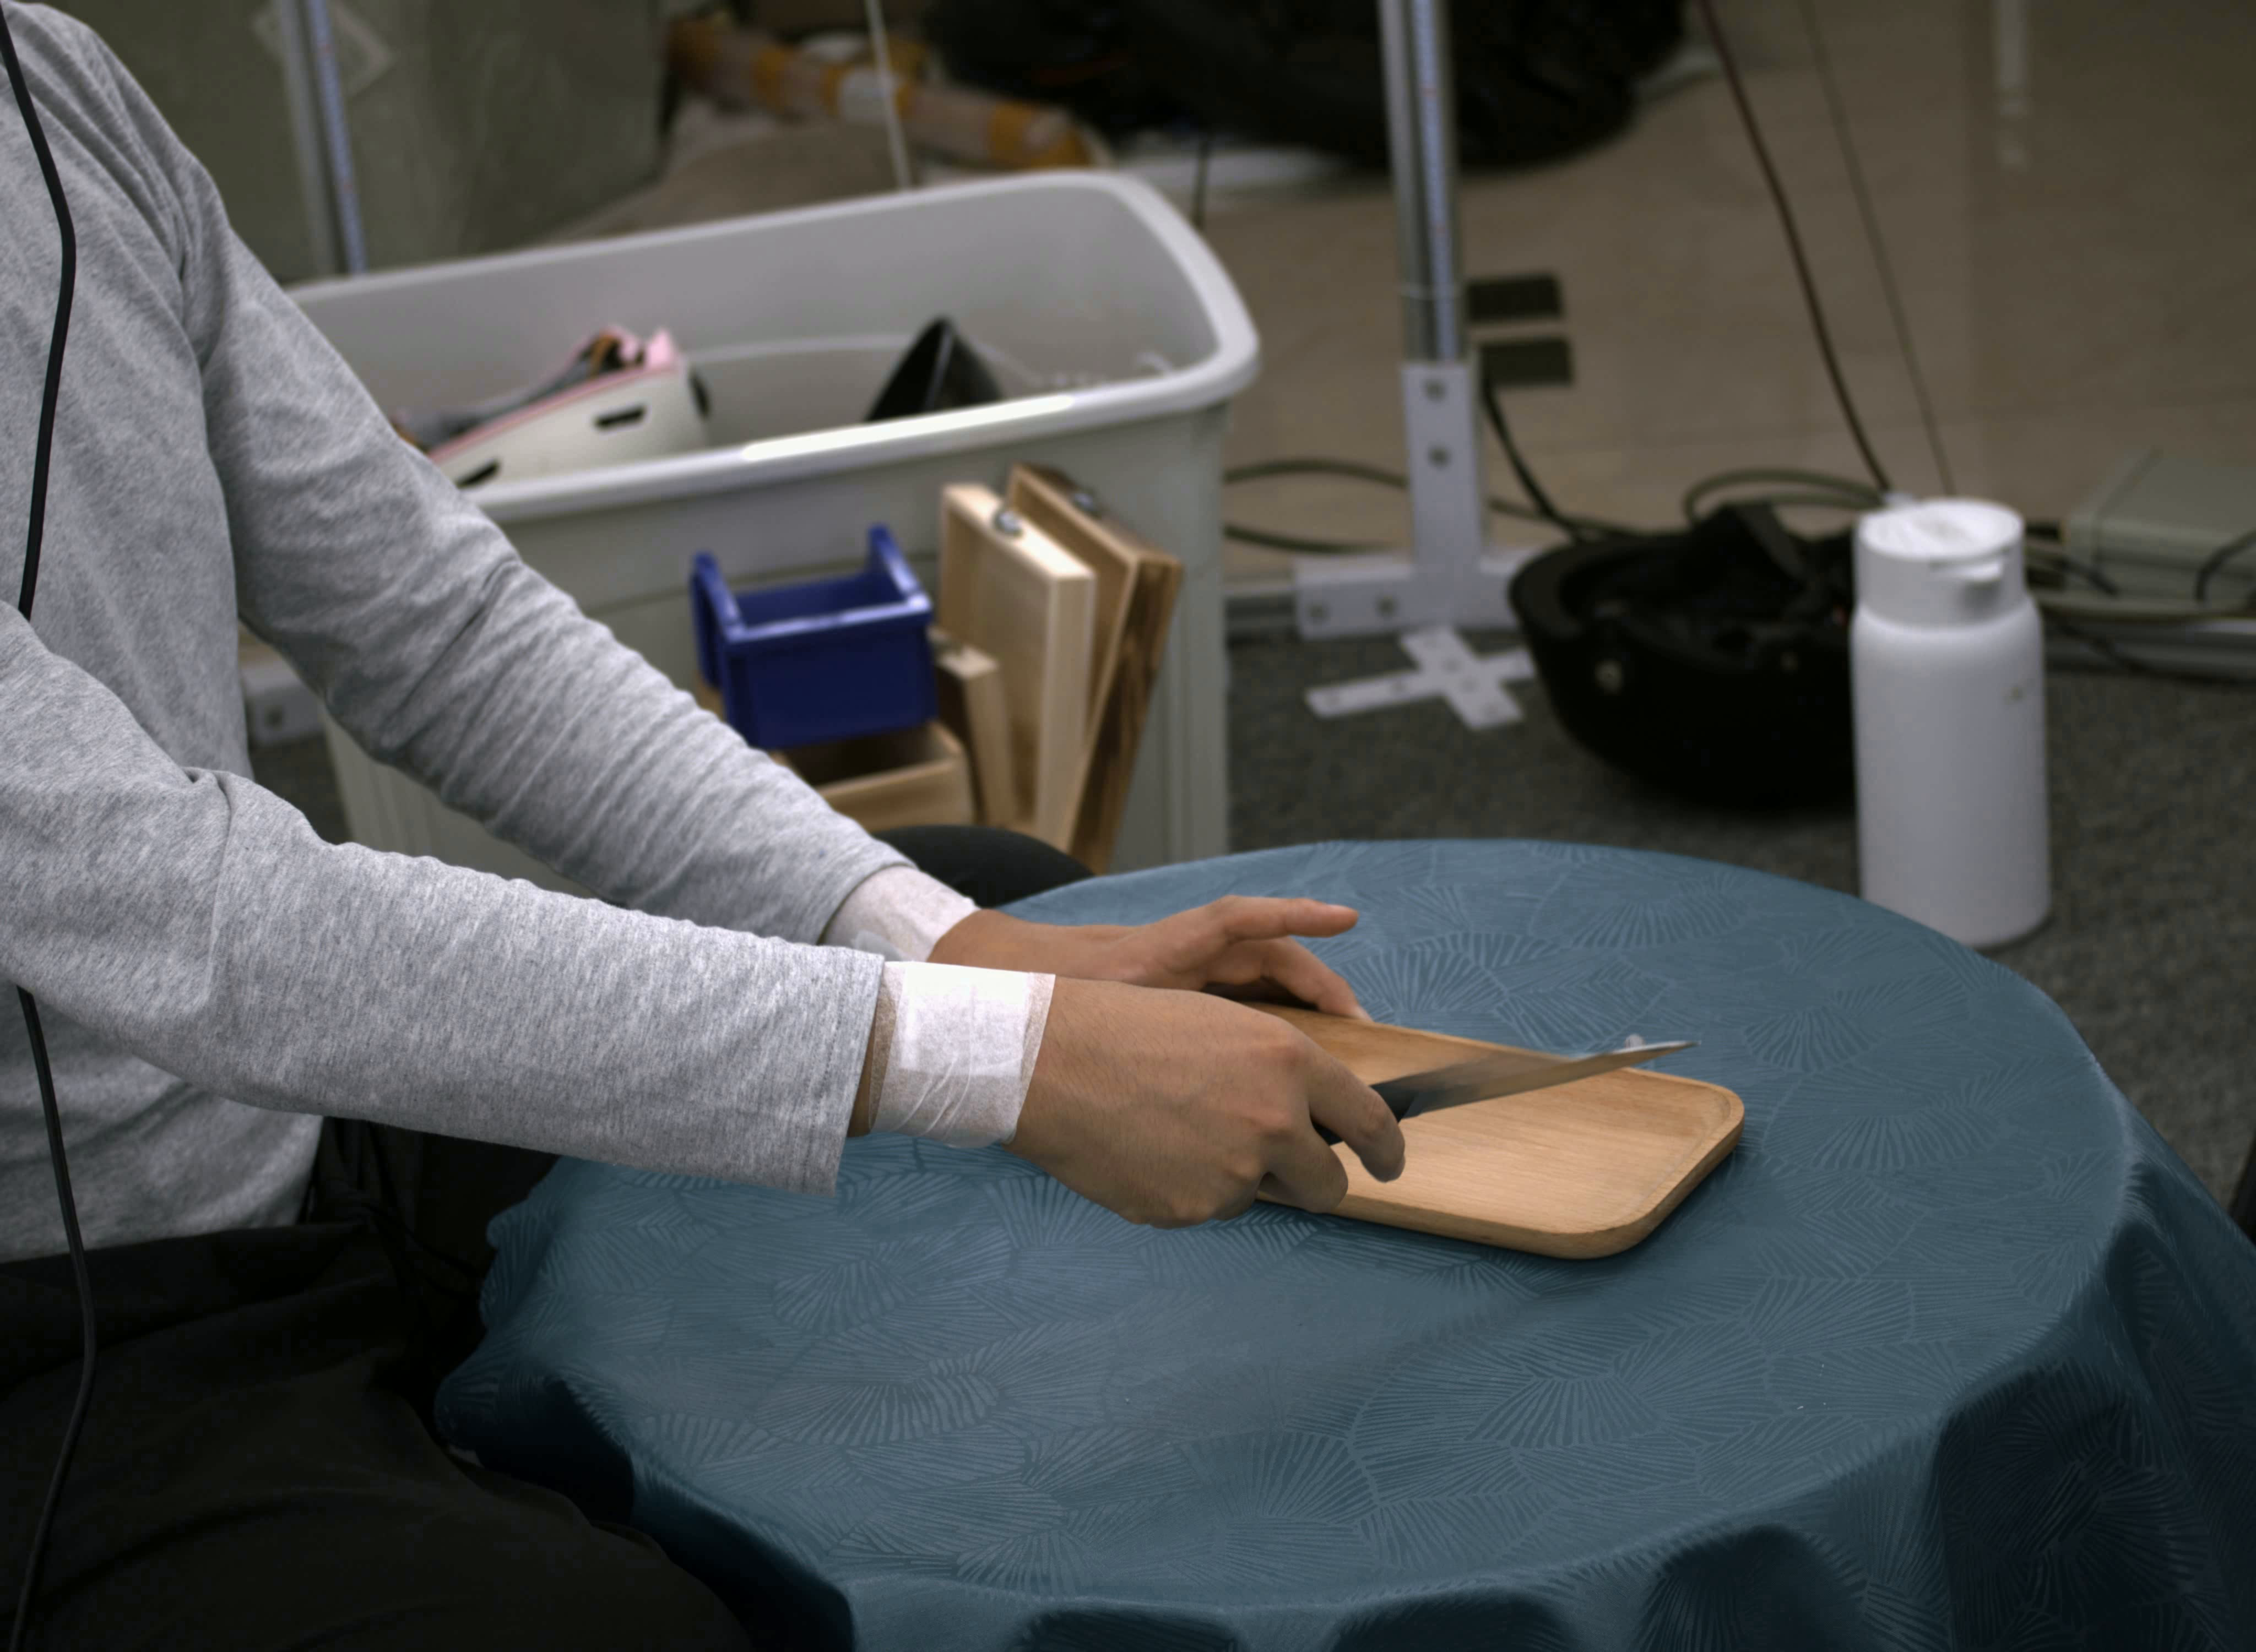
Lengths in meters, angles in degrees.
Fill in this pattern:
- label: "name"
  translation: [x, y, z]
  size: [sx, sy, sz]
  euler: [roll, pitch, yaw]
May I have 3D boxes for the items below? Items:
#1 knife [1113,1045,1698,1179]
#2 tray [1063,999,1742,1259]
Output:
- label: "knife"
  translation: [0.103, 0.096, 2.003]
  size: [0.237, 0.025, 0.016]
  euler: [-10, 66, -26]
- label: "tray"
  translation: [0.103, 0.114, 2.160]
  size: [0.249, 0.023, 0.129]
  euler: [9, 26, 32]
